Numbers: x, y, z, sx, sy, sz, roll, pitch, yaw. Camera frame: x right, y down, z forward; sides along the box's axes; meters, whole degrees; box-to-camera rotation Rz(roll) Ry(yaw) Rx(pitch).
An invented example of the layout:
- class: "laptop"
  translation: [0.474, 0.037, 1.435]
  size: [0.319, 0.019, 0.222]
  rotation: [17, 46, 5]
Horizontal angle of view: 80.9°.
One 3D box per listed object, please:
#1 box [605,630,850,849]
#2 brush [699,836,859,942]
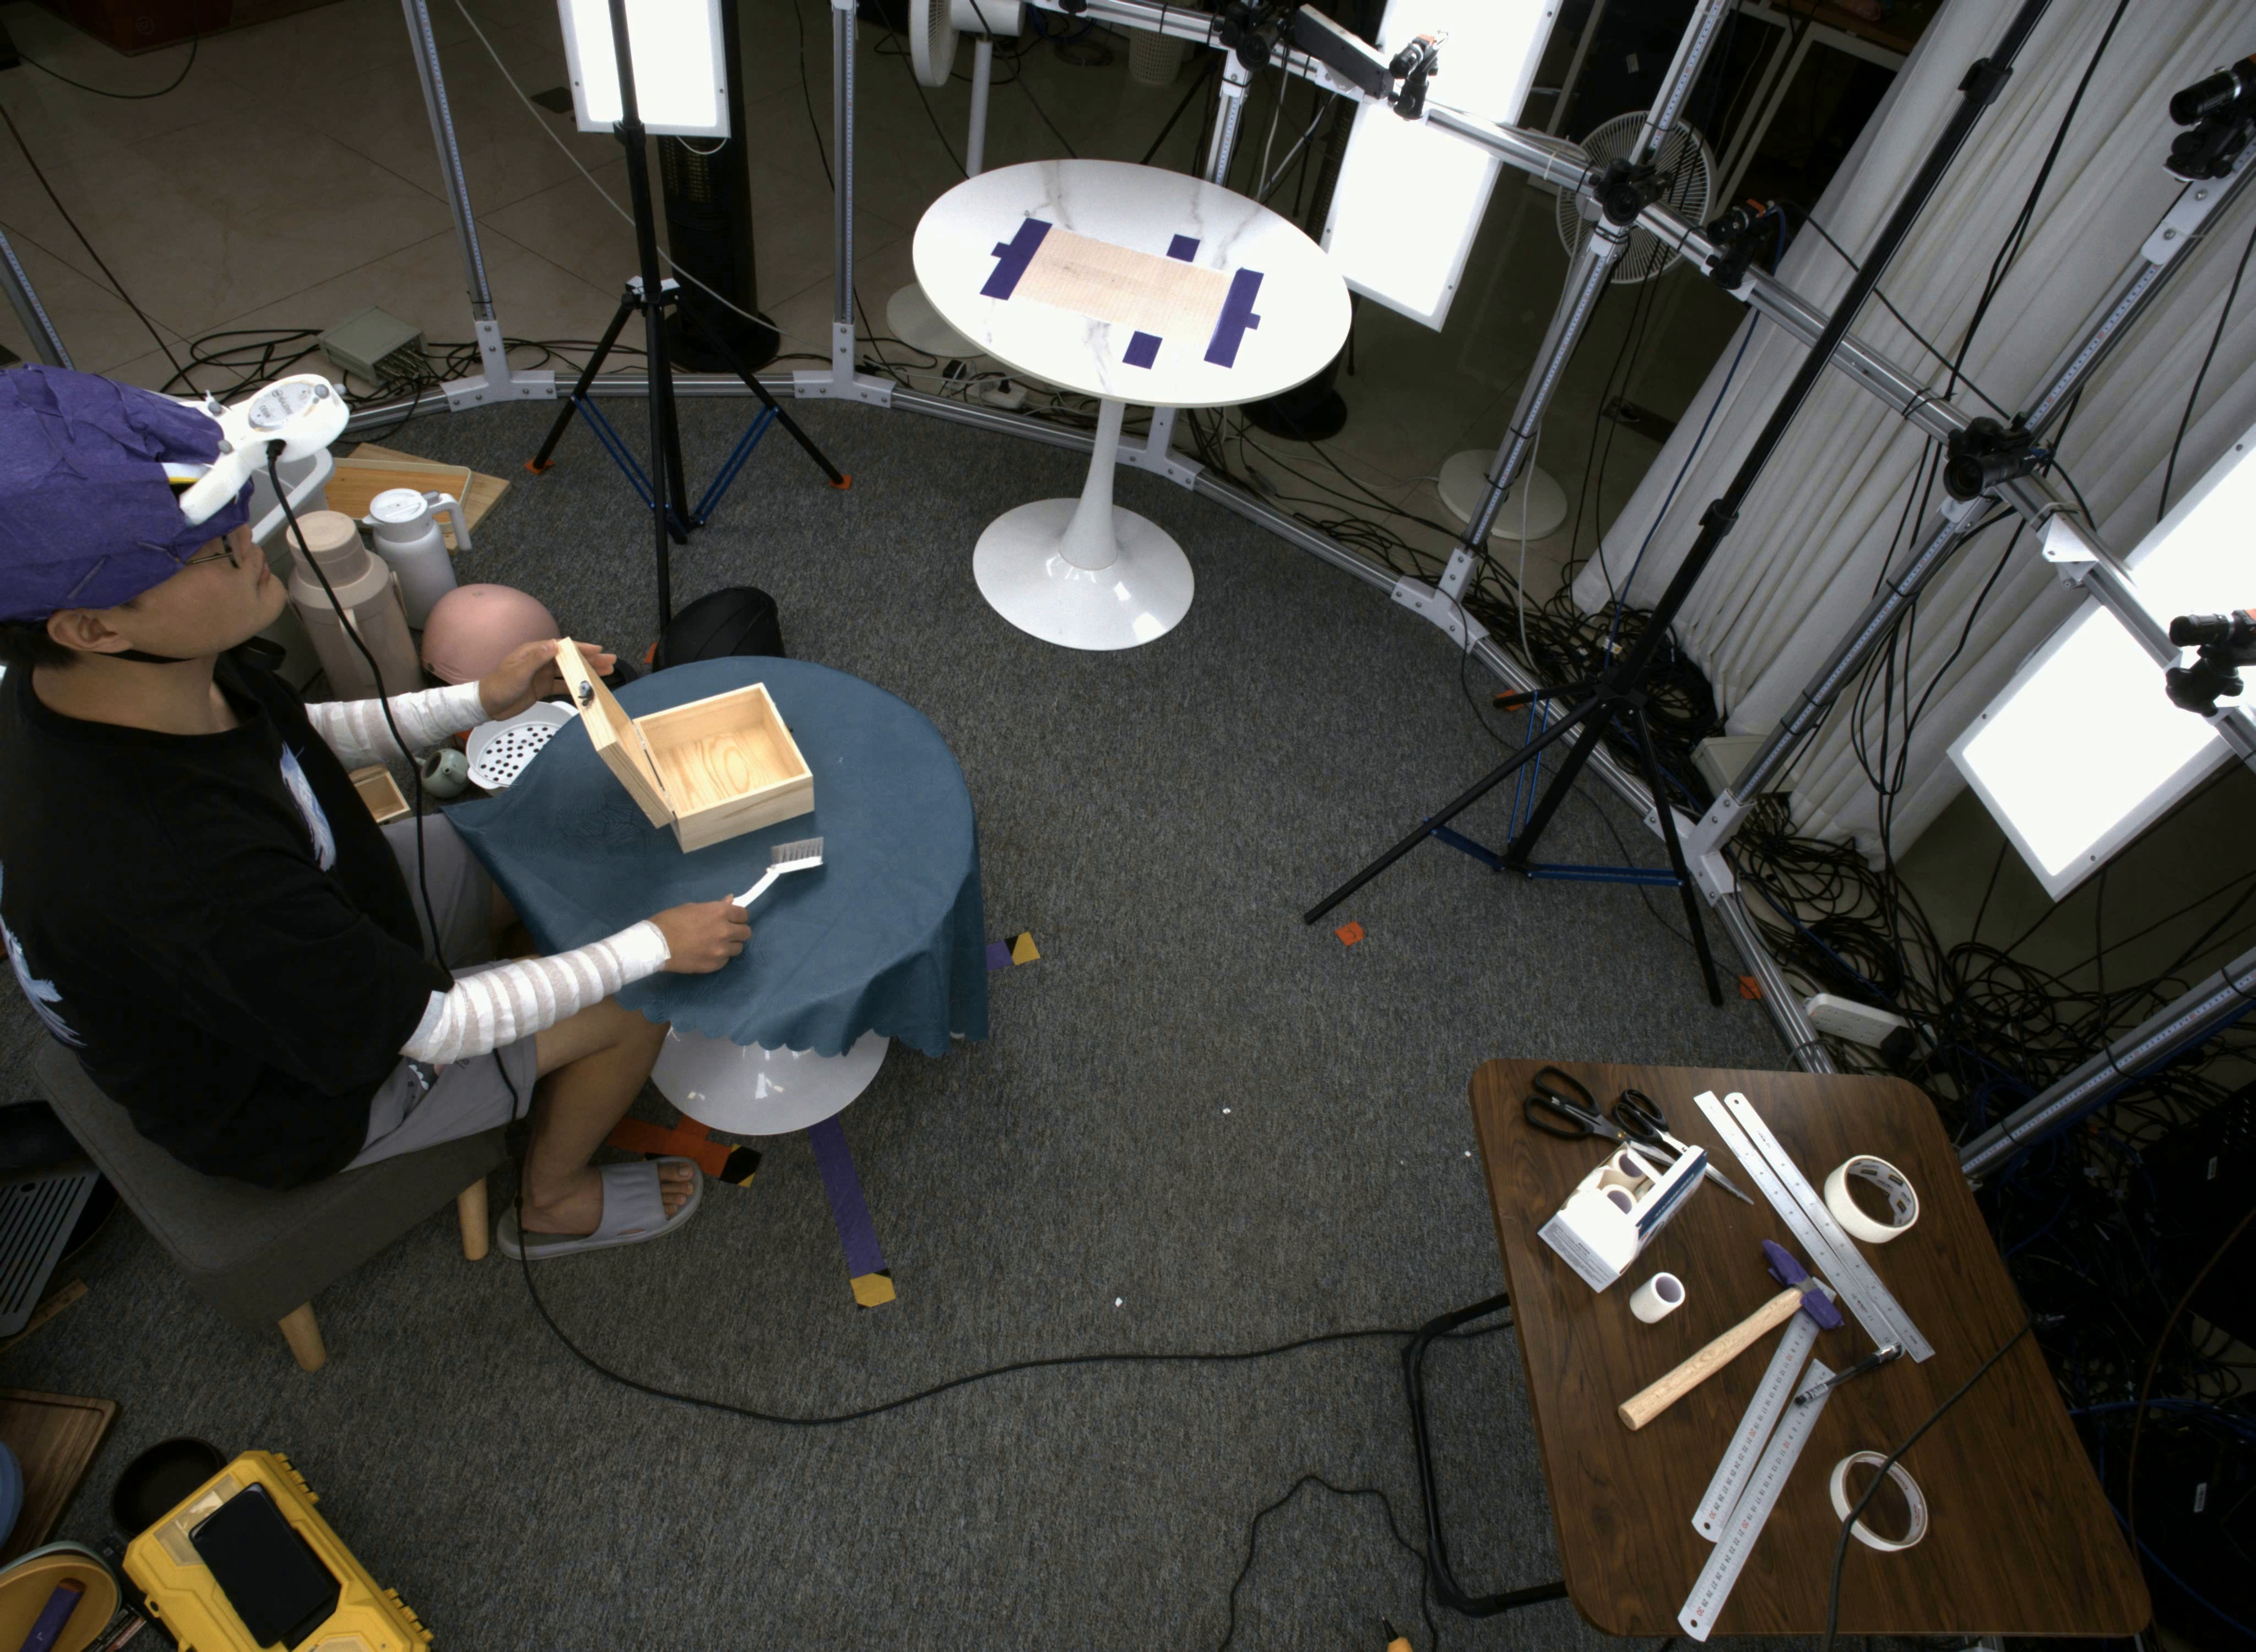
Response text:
- class: "box"
  translation: [-0.508, -0.131, 1.651]
  size: [0.266, 0.258, 0.177]
  rotation: [-20, 60, -25]
- class: "brush"
  translation: [-0.440, 0.069, 1.626]
  size: [0.245, 0.033, 0.051]
  rotation: [-31, 108, -38]
